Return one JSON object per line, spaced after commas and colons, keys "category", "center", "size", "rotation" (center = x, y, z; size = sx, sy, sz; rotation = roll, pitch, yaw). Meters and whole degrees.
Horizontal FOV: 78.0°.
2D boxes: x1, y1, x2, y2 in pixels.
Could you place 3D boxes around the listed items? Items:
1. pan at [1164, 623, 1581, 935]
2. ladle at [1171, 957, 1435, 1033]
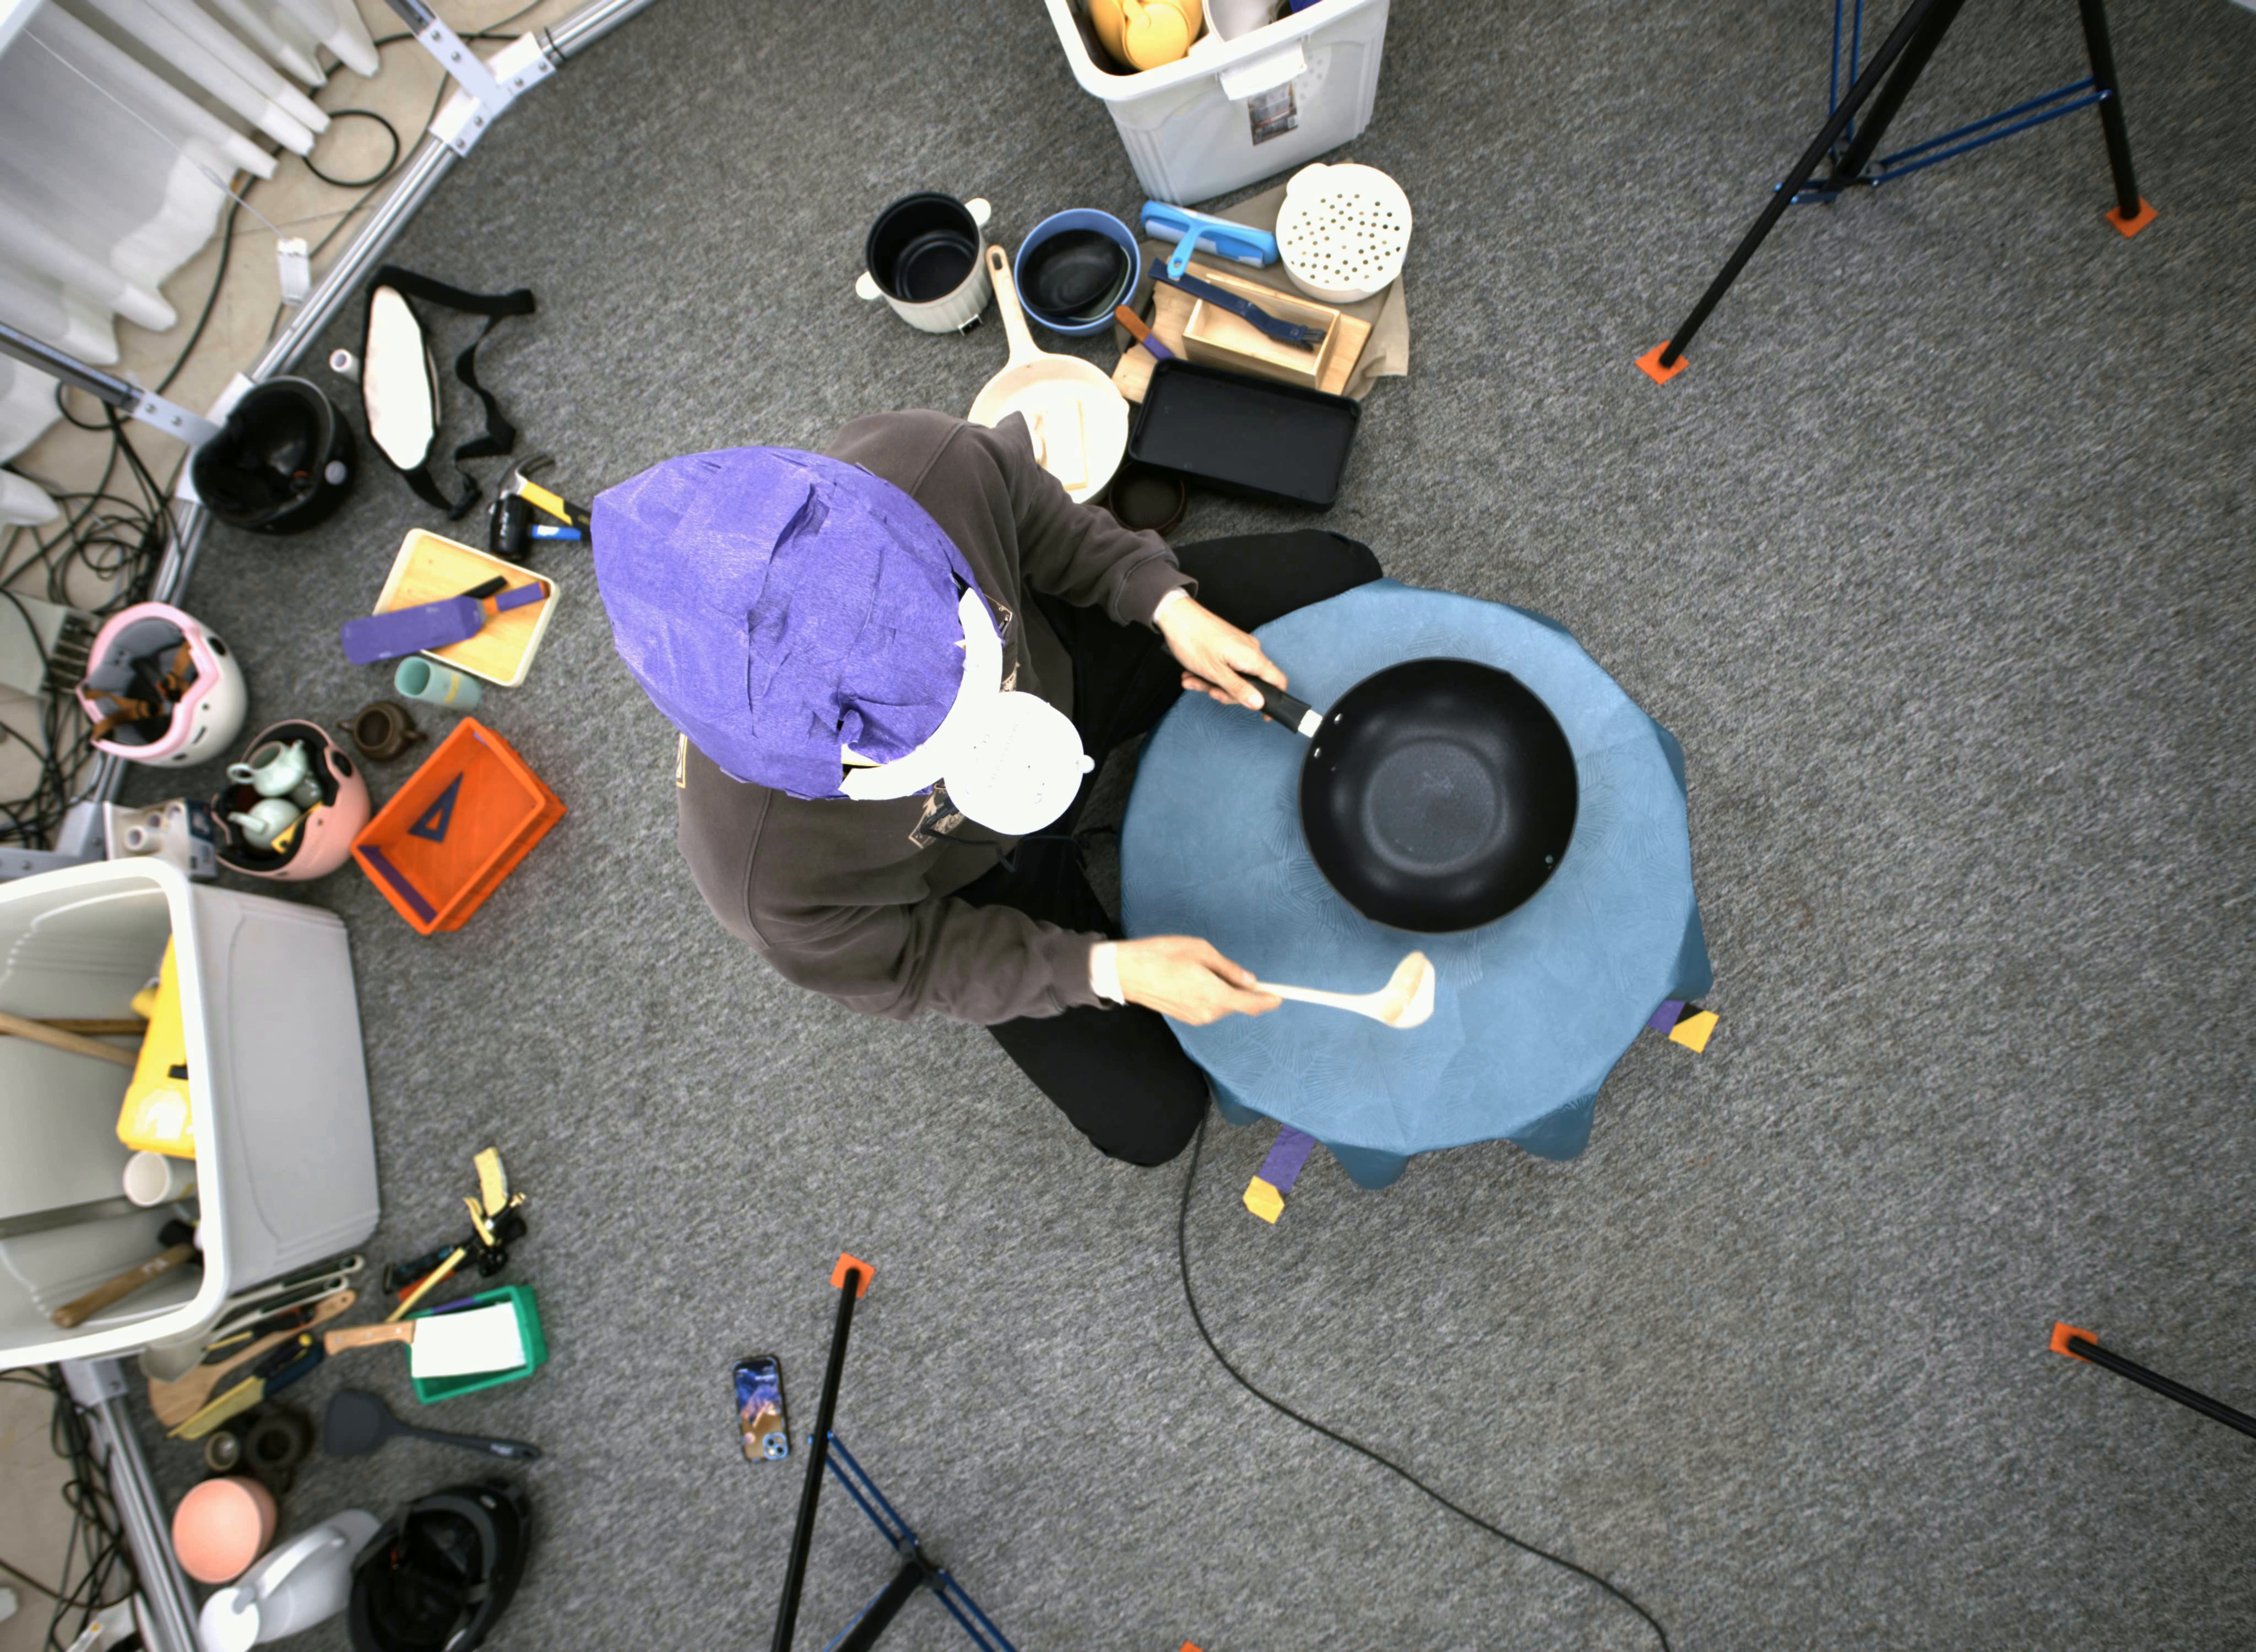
{"category": "pan", "center": [0.238, -0.076, 1.426], "size": [0.462, 0.087, 0.289], "rotation": [31, 93, 10]}
{"category": "ladle", "center": [0.166, 0.152, 1.326], "size": [0.255, 0.074, 0.070], "rotation": [4, 52, 7]}
